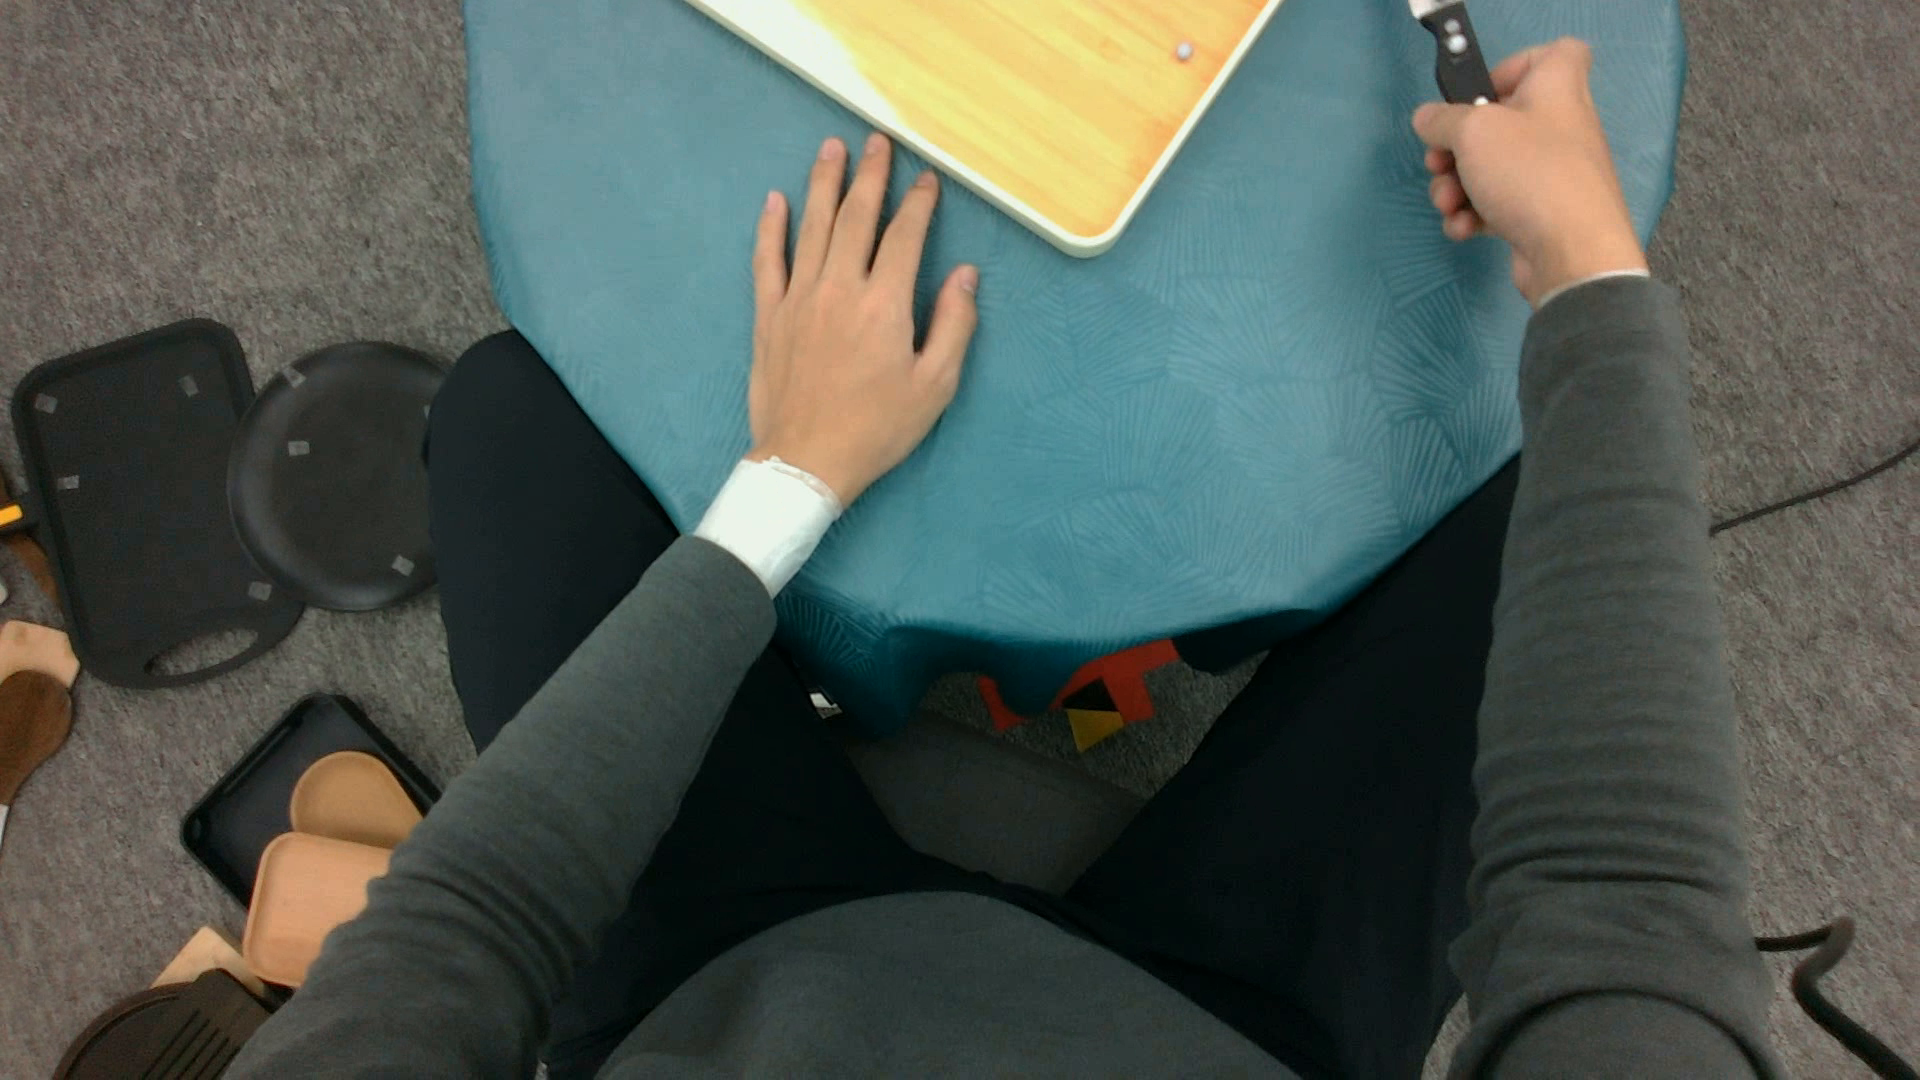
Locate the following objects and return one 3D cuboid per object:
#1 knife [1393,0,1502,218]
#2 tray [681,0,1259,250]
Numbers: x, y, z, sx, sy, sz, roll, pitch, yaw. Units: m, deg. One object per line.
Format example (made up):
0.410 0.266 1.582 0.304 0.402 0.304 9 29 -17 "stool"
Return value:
0.209 -0.260 0.638 0.024 0.016 0.238 -17 76 18 "knife"
-0.012 -0.296 0.674 0.300 0.027 0.191 35 88 4 "tray"
